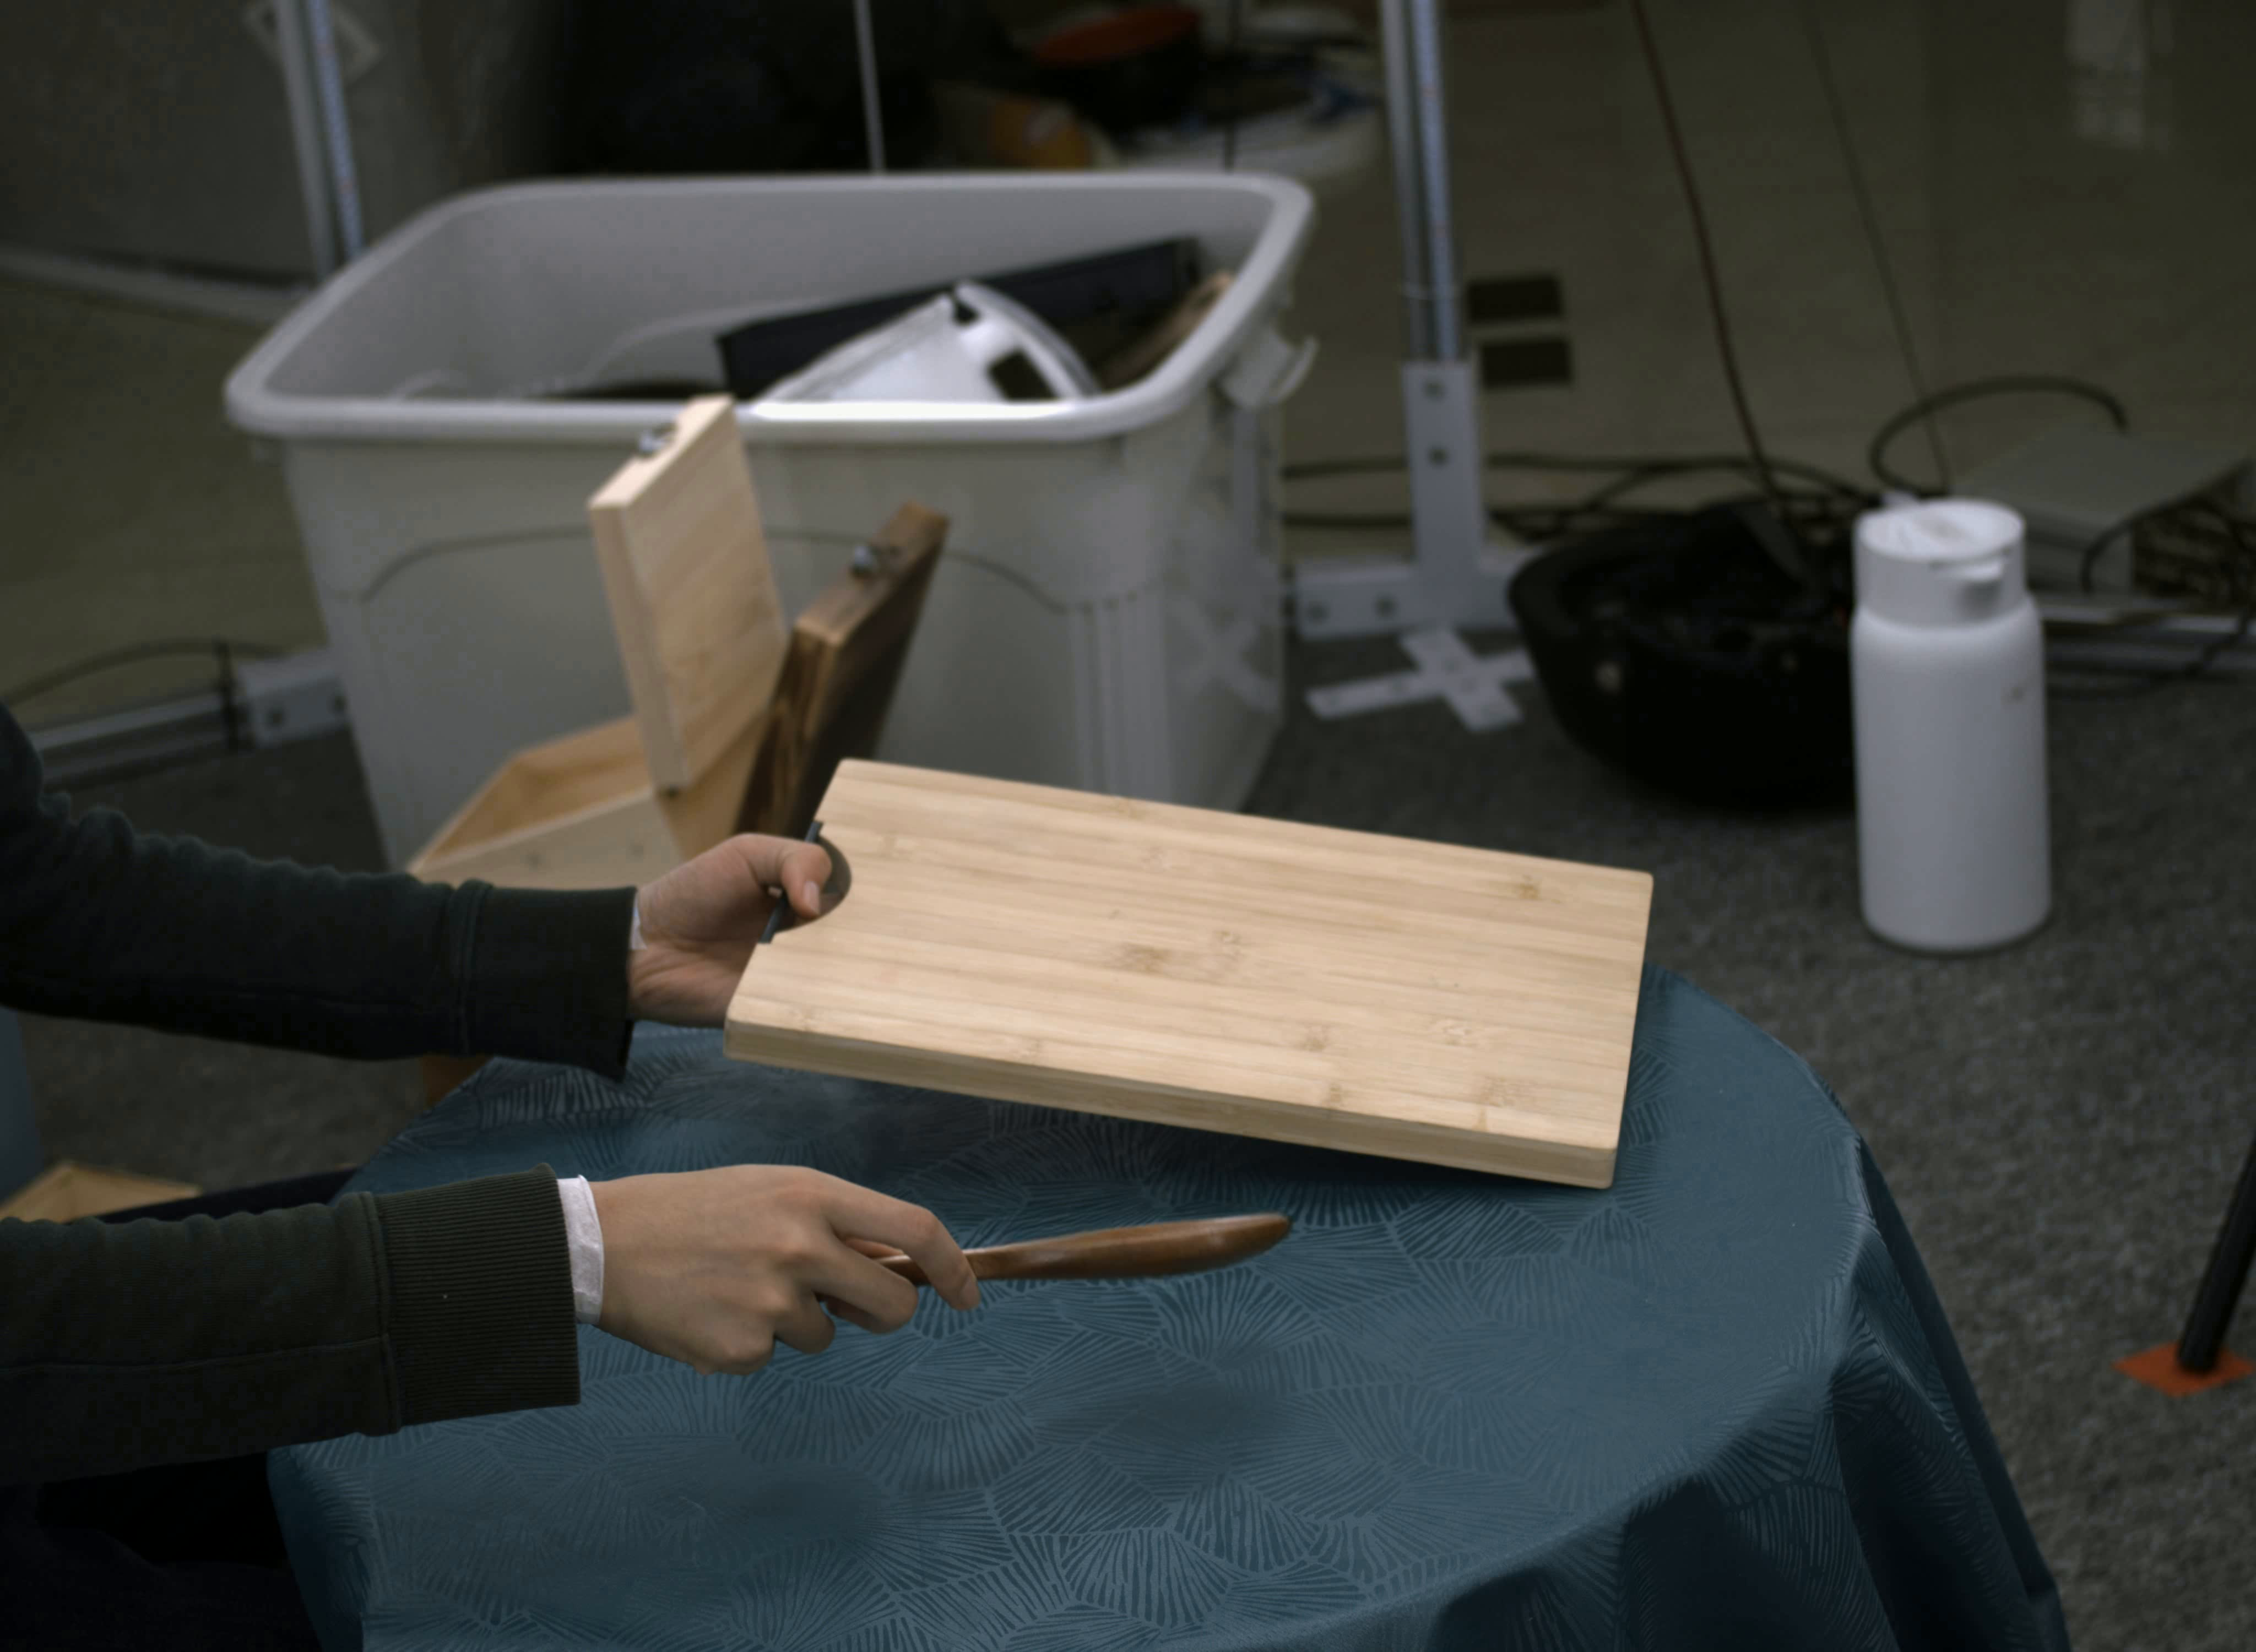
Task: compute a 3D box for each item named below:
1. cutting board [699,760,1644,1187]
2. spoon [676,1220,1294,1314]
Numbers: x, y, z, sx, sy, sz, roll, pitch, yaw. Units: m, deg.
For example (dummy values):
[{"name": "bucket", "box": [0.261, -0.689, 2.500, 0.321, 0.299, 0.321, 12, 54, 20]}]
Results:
[{"name": "cutting board", "box": [0.024, 0.055, 2.231, 0.348, 0.024, 0.247, 8, 26, 4]}, {"name": "spoon", "box": [-0.049, 0.154, 1.966, 0.215, 0.017, 0.075, -4, 4, -6]}]
